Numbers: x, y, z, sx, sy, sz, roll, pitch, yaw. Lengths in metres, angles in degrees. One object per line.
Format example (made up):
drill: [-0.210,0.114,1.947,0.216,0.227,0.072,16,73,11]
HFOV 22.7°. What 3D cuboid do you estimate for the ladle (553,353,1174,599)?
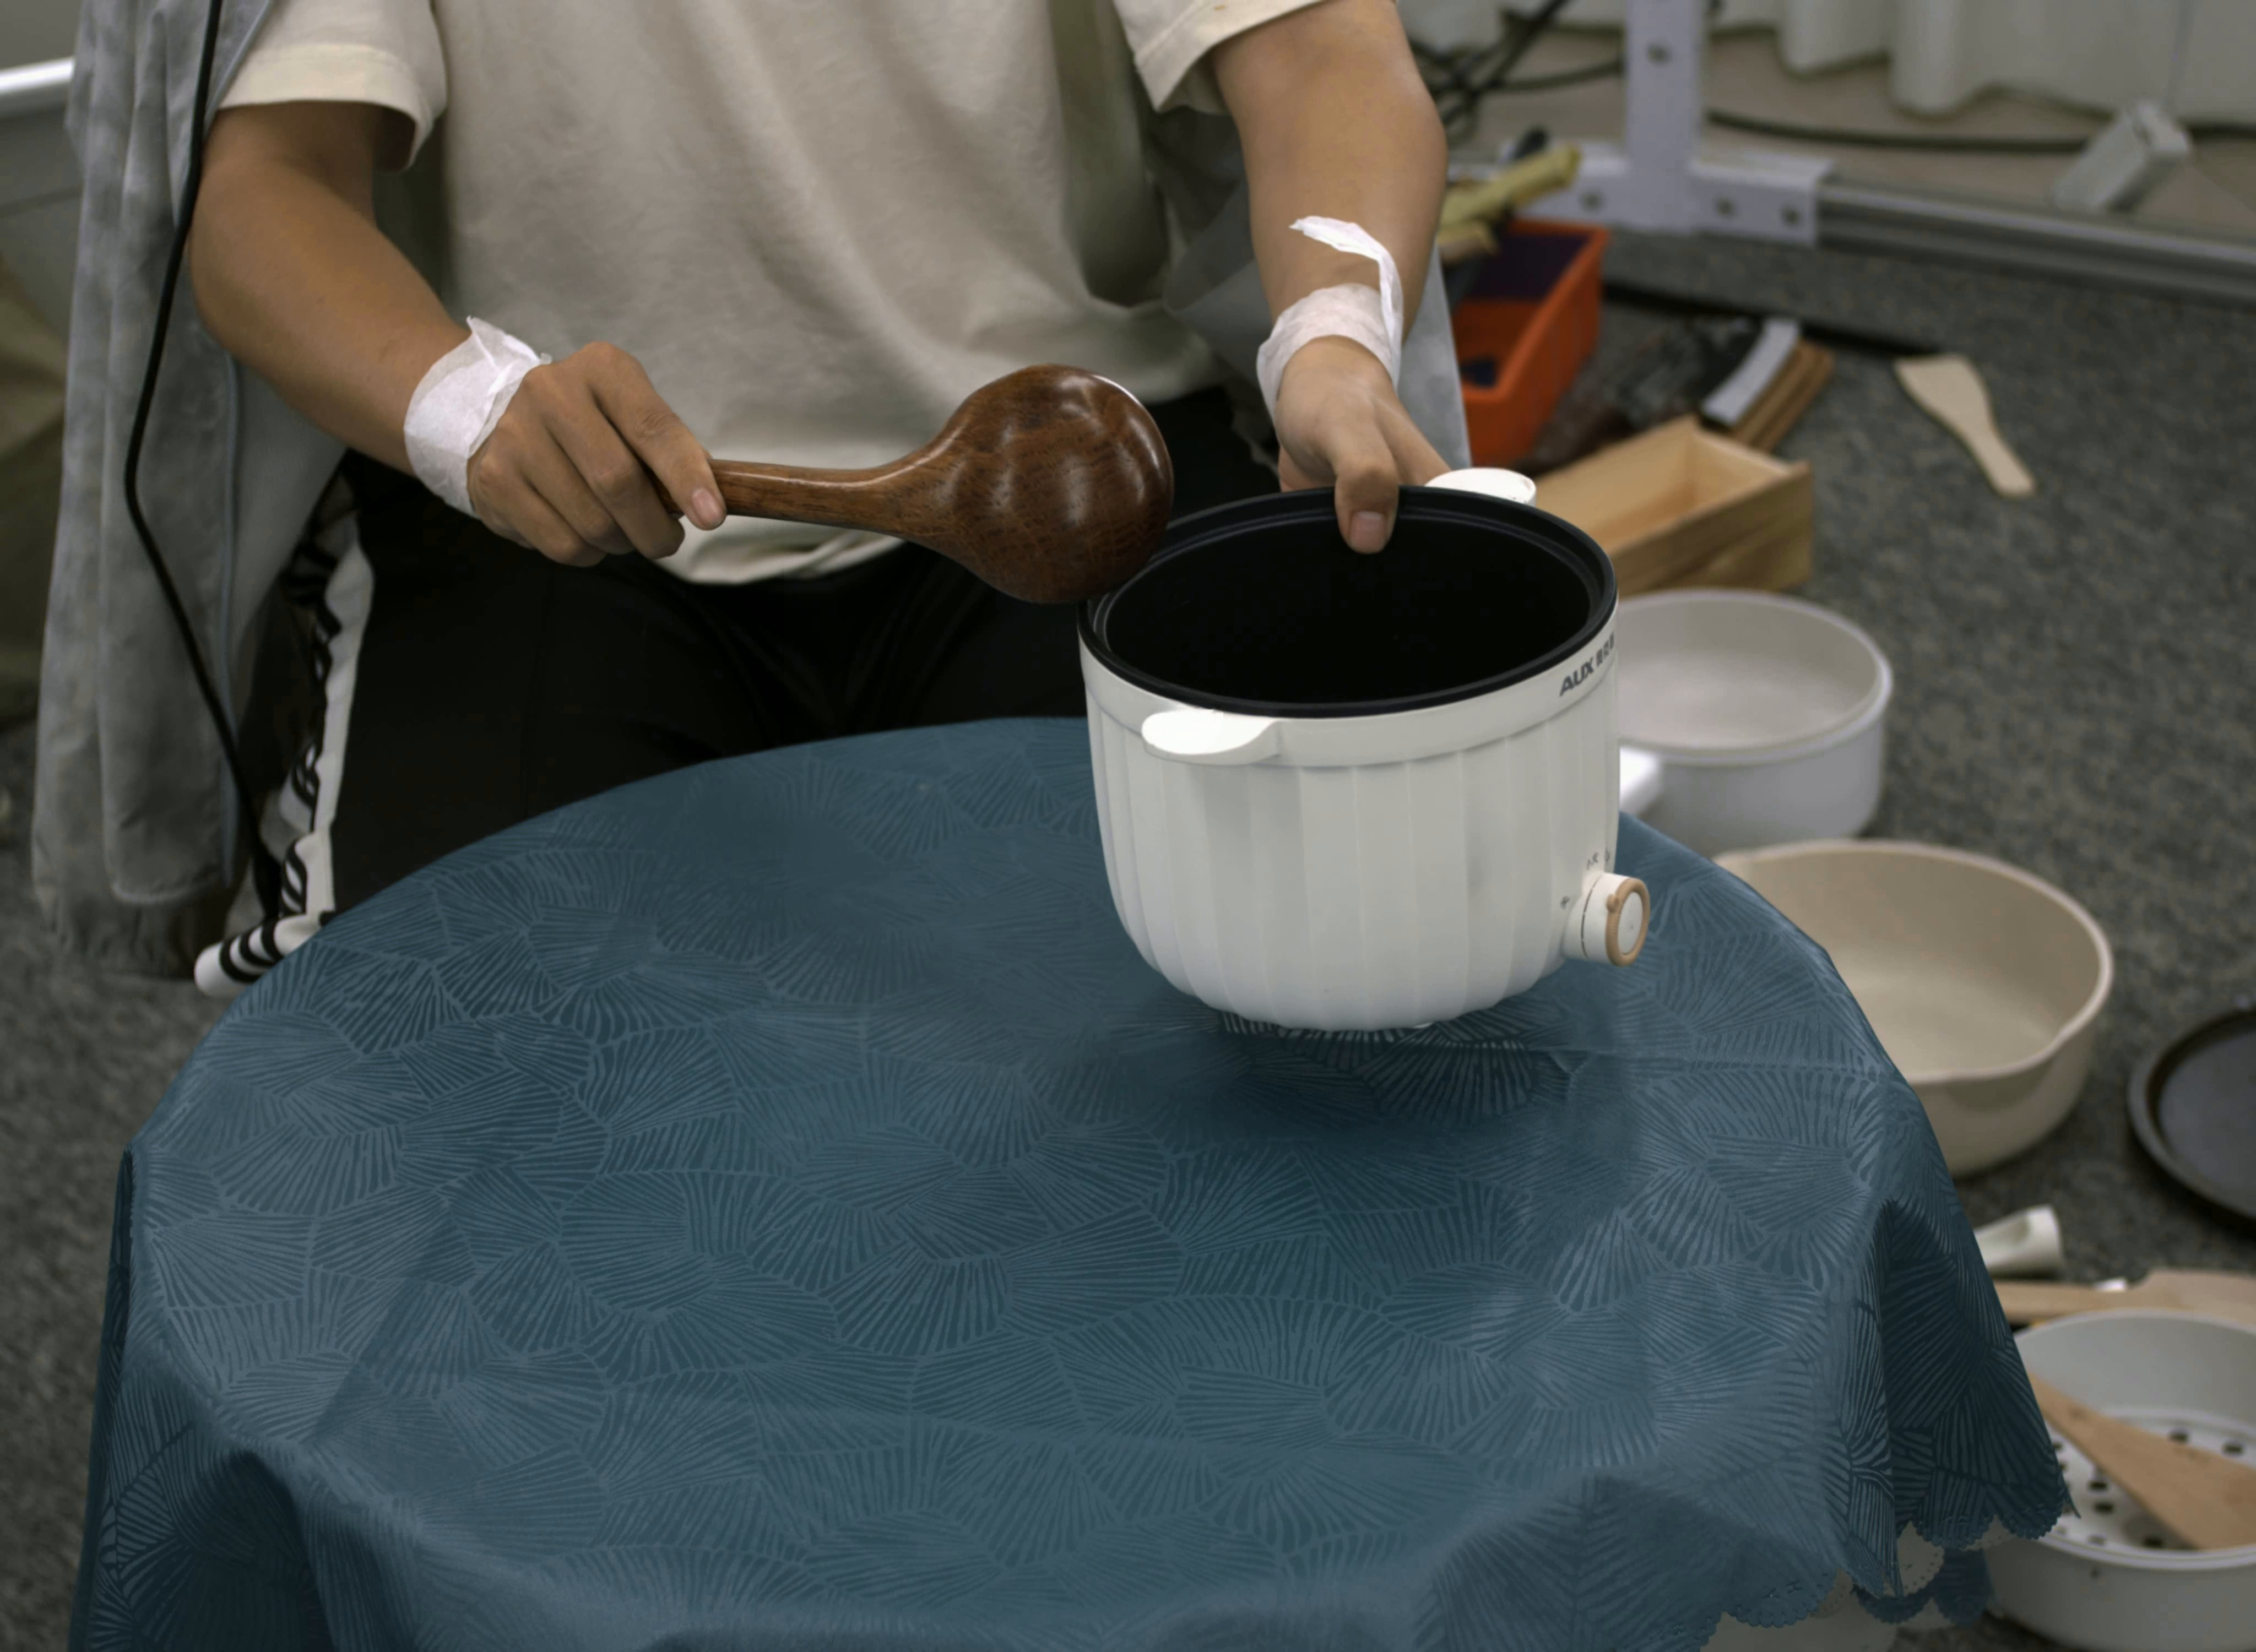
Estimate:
ladle: [-0.093,-0.120,1.950,0.077,0.082,0.272,-9,8,-39]

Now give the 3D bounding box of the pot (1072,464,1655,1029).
pot: [0.082,-0.020,1.900,0.189,0.141,0.244,6,28,29]
